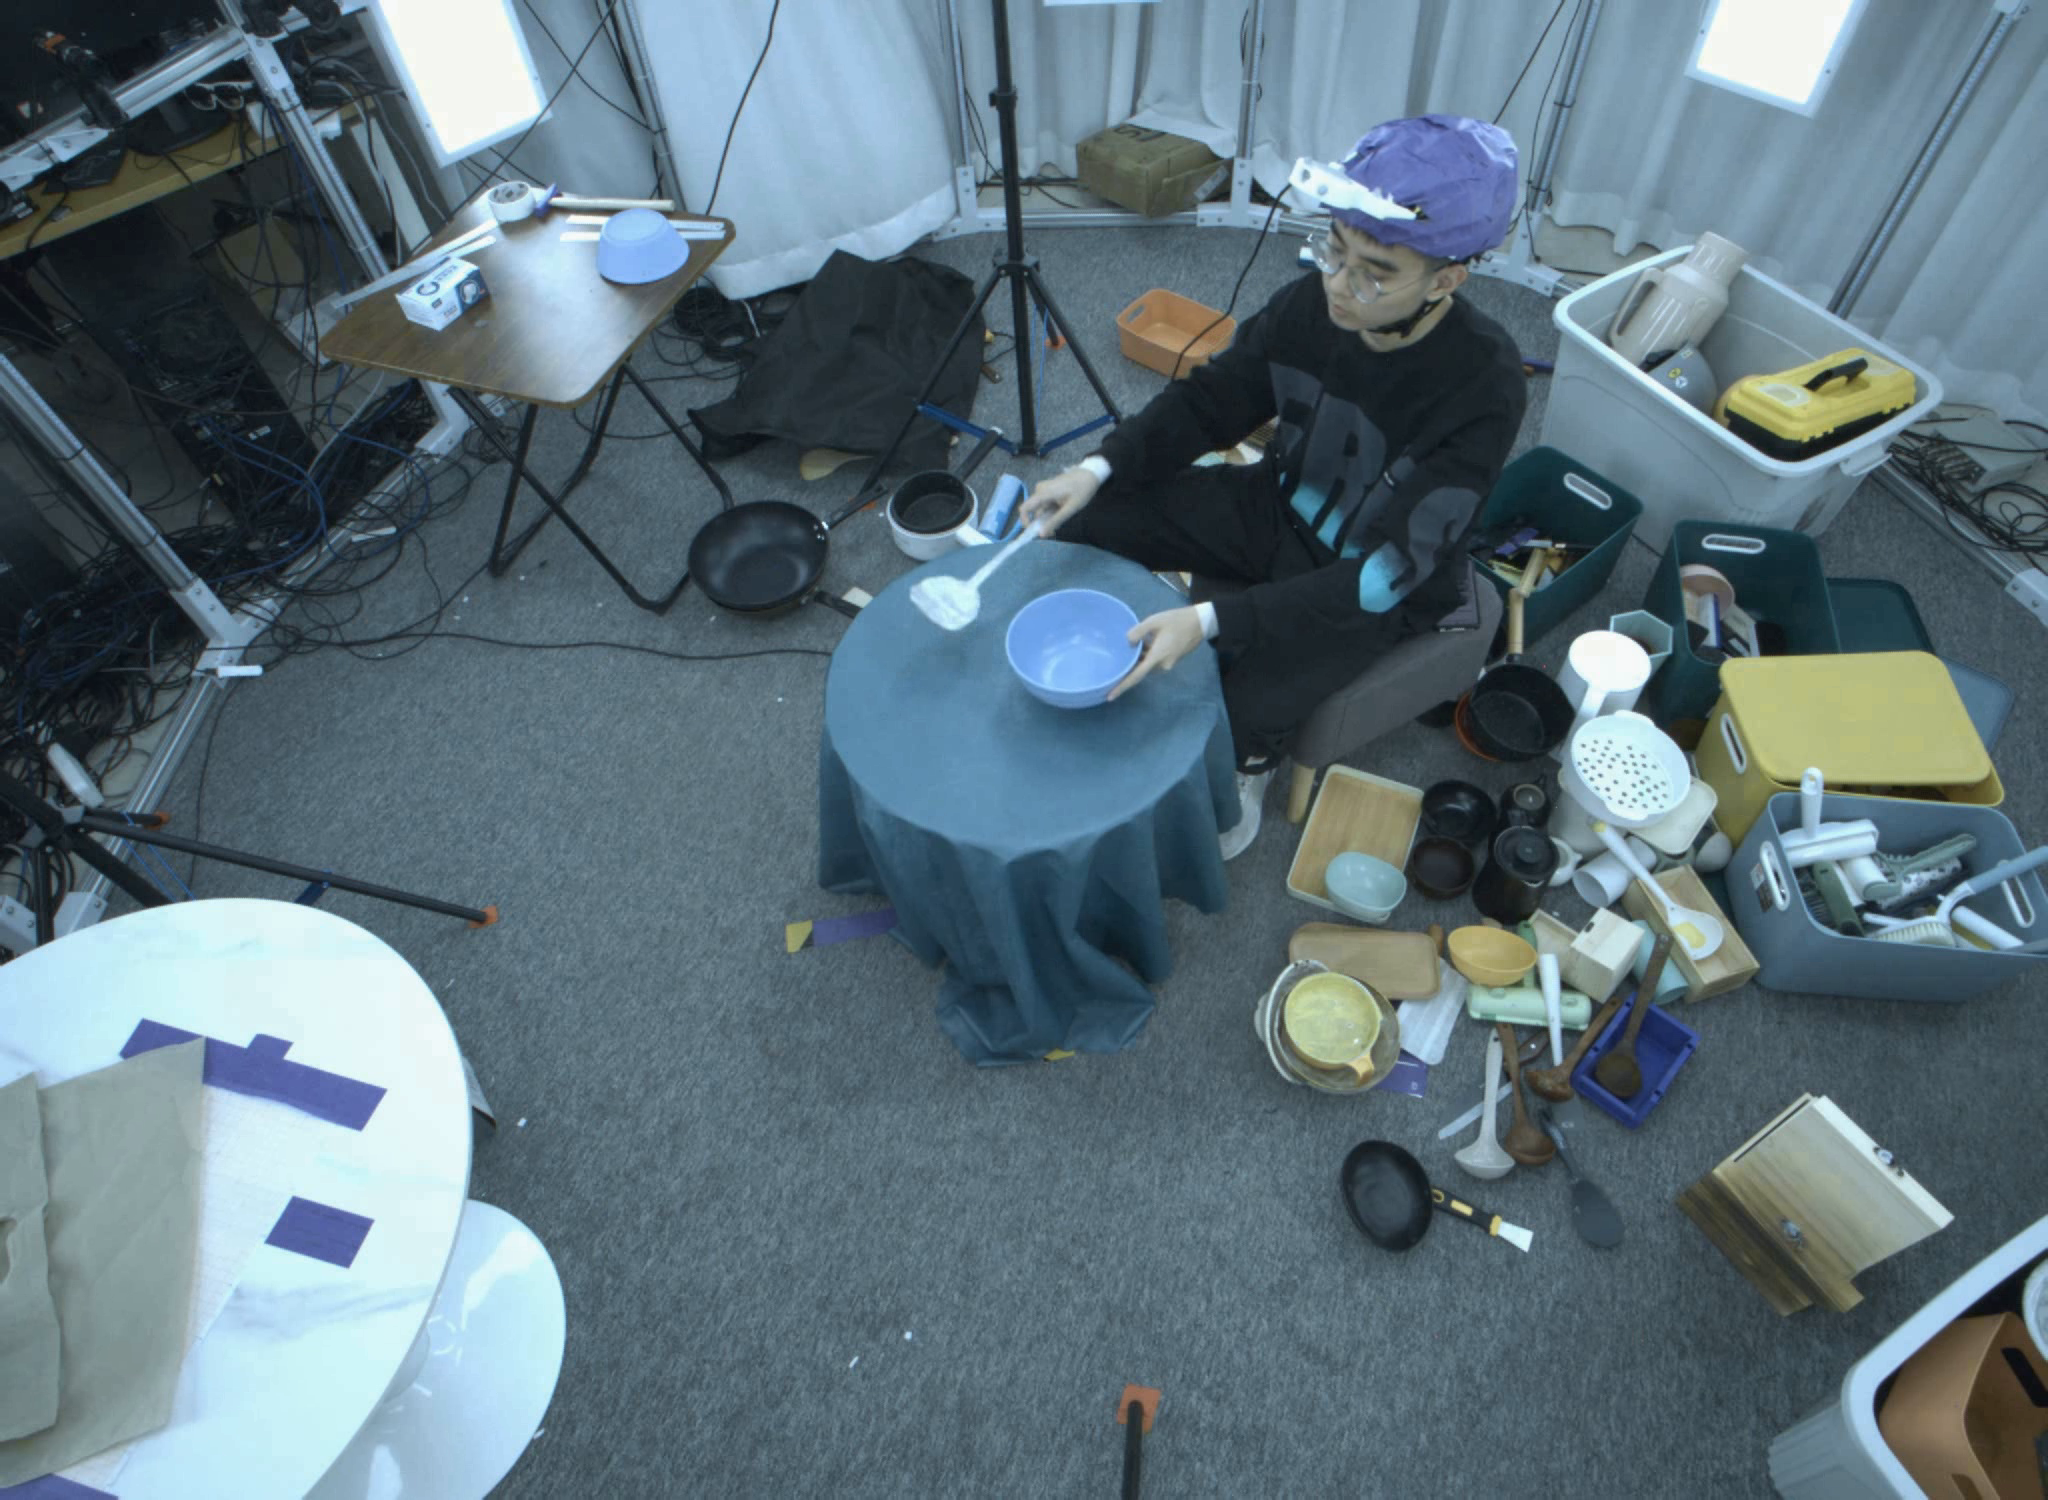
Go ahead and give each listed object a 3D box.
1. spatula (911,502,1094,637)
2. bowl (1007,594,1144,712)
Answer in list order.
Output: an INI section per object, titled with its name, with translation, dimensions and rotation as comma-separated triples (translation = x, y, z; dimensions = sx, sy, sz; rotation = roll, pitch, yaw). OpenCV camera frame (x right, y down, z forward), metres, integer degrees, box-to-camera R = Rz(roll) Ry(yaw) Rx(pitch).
[spatula]
translation = -0.020, -0.296, 1.889
dimensions = 0.098, 0.045, 0.367
rotation = 44, 69, 10
[bowl]
translation = 0.078, -0.127, 1.805
dimensions = 0.196, 0.096, 0.194
rotation = -2, 54, 4
